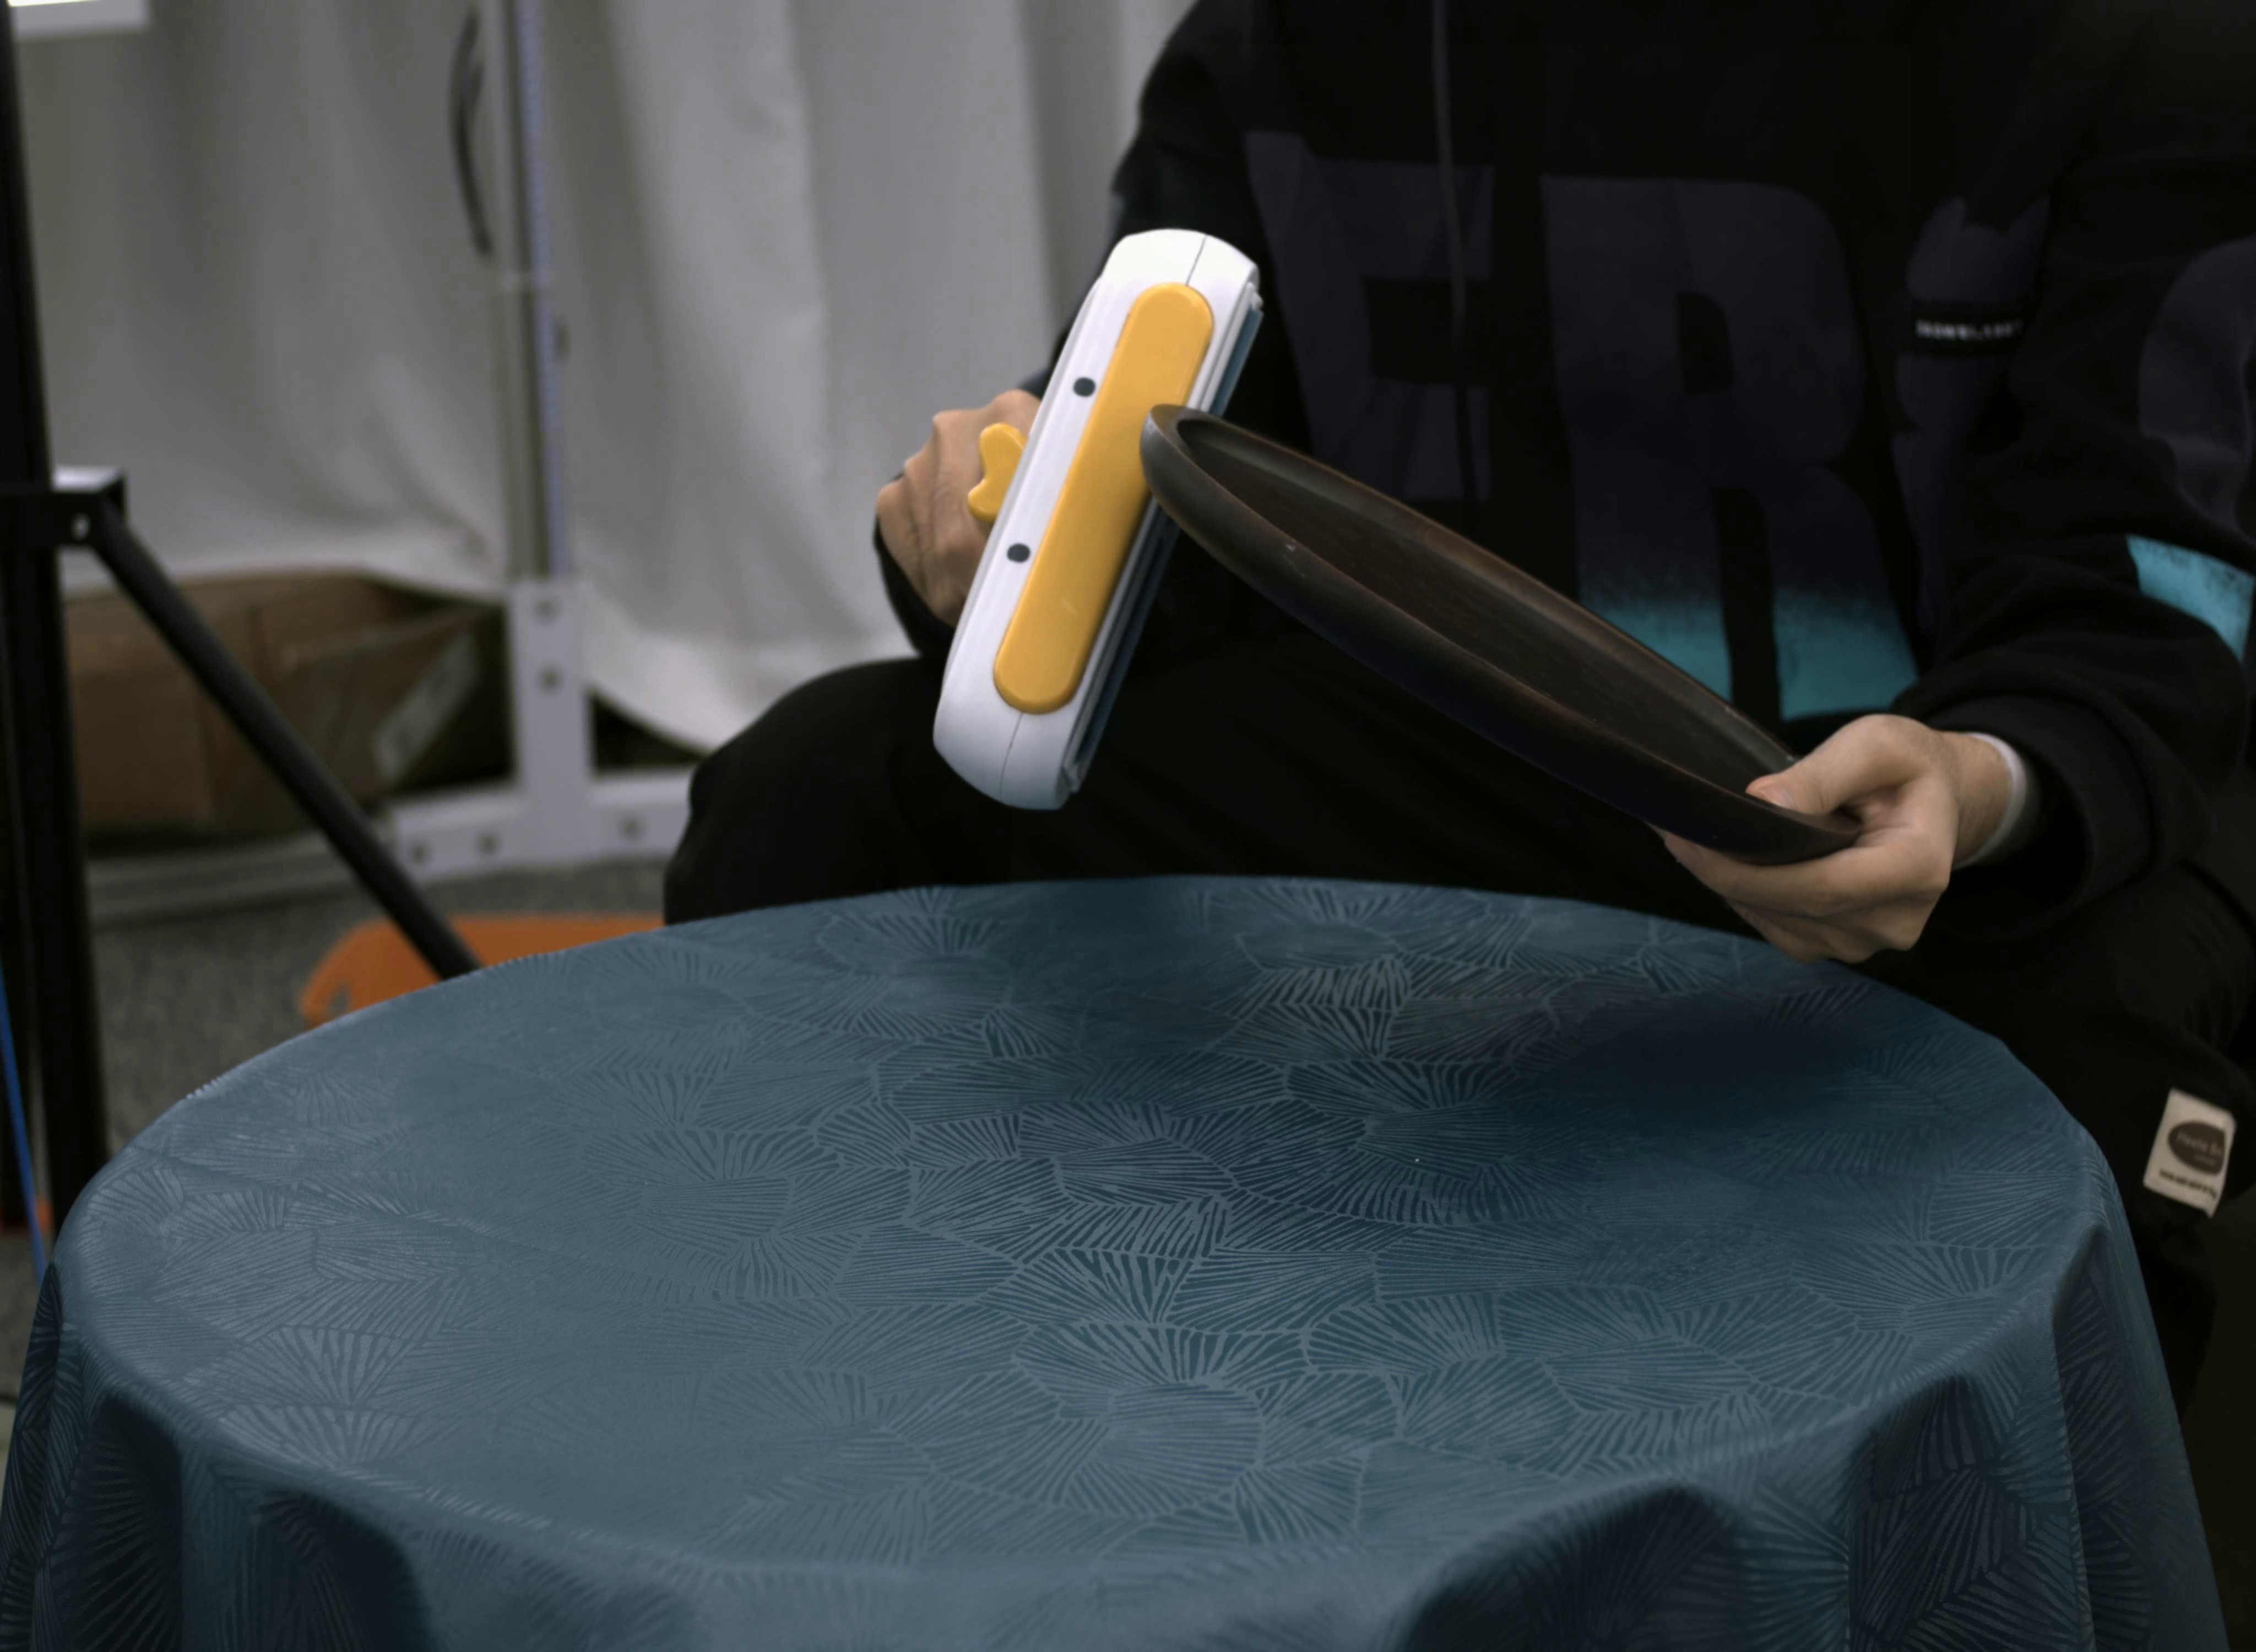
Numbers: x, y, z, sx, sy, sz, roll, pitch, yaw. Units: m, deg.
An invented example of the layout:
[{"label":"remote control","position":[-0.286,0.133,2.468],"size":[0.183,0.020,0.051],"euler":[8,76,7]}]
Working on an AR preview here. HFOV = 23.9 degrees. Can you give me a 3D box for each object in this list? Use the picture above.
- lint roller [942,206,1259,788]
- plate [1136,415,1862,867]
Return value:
[{"label":"lint roller","position":[-0.020,-0.097,1.762],"size":[0.074,0.194,0.192],"euler":[17,-12,-3]},{"label":"plate","position":[0.111,-0.056,1.623],"size":[0.253,0.029,0.256],"euler":[30,9,-7]}]
